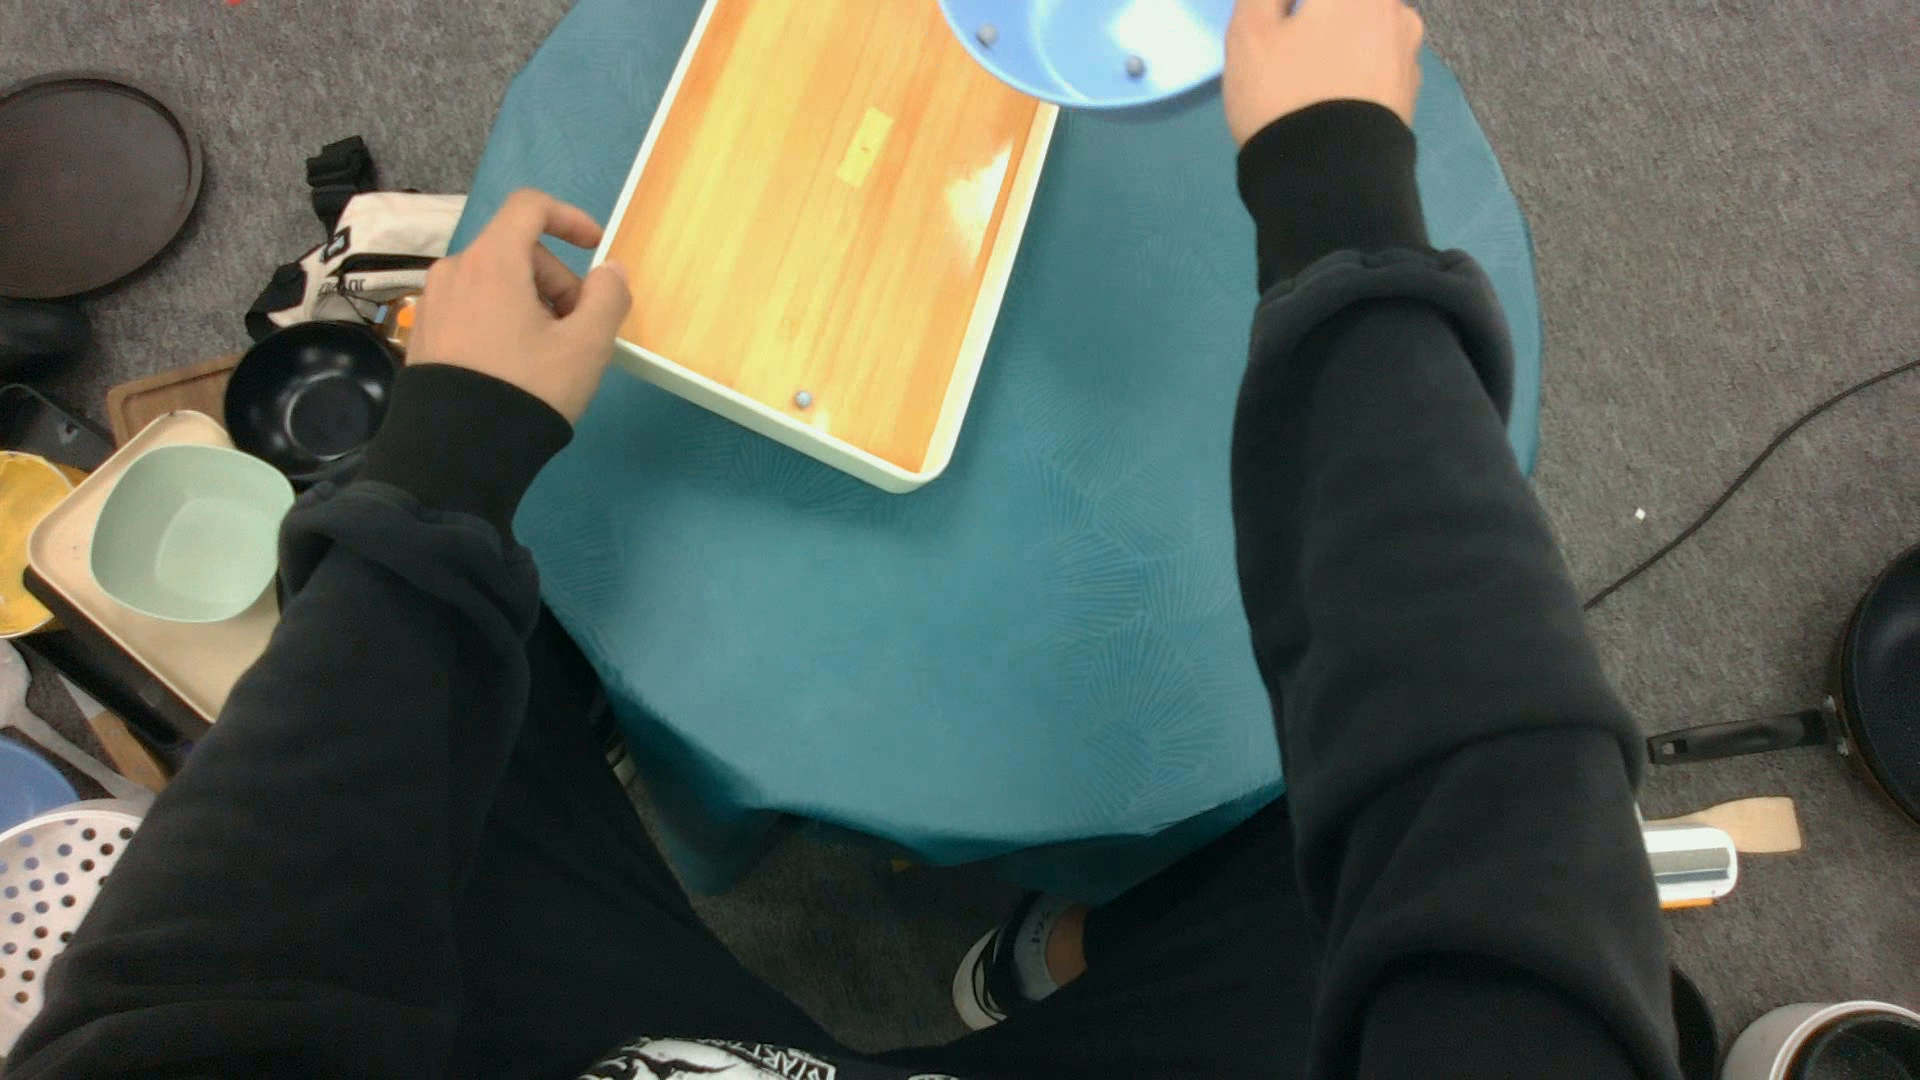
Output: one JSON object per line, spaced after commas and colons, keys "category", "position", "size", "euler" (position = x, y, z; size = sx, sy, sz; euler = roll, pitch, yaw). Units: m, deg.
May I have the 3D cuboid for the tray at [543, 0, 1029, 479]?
{"category": "tray", "position": [-0.072, -0.195, 0.707], "size": [0.191, 0.027, 0.301], "euler": [24, 65, -19]}

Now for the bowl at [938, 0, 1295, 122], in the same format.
{"category": "bowl", "position": [0.082, -0.257, 0.618], "size": [0.175, 0.070, 0.176], "euler": [-6, 74, 20]}
